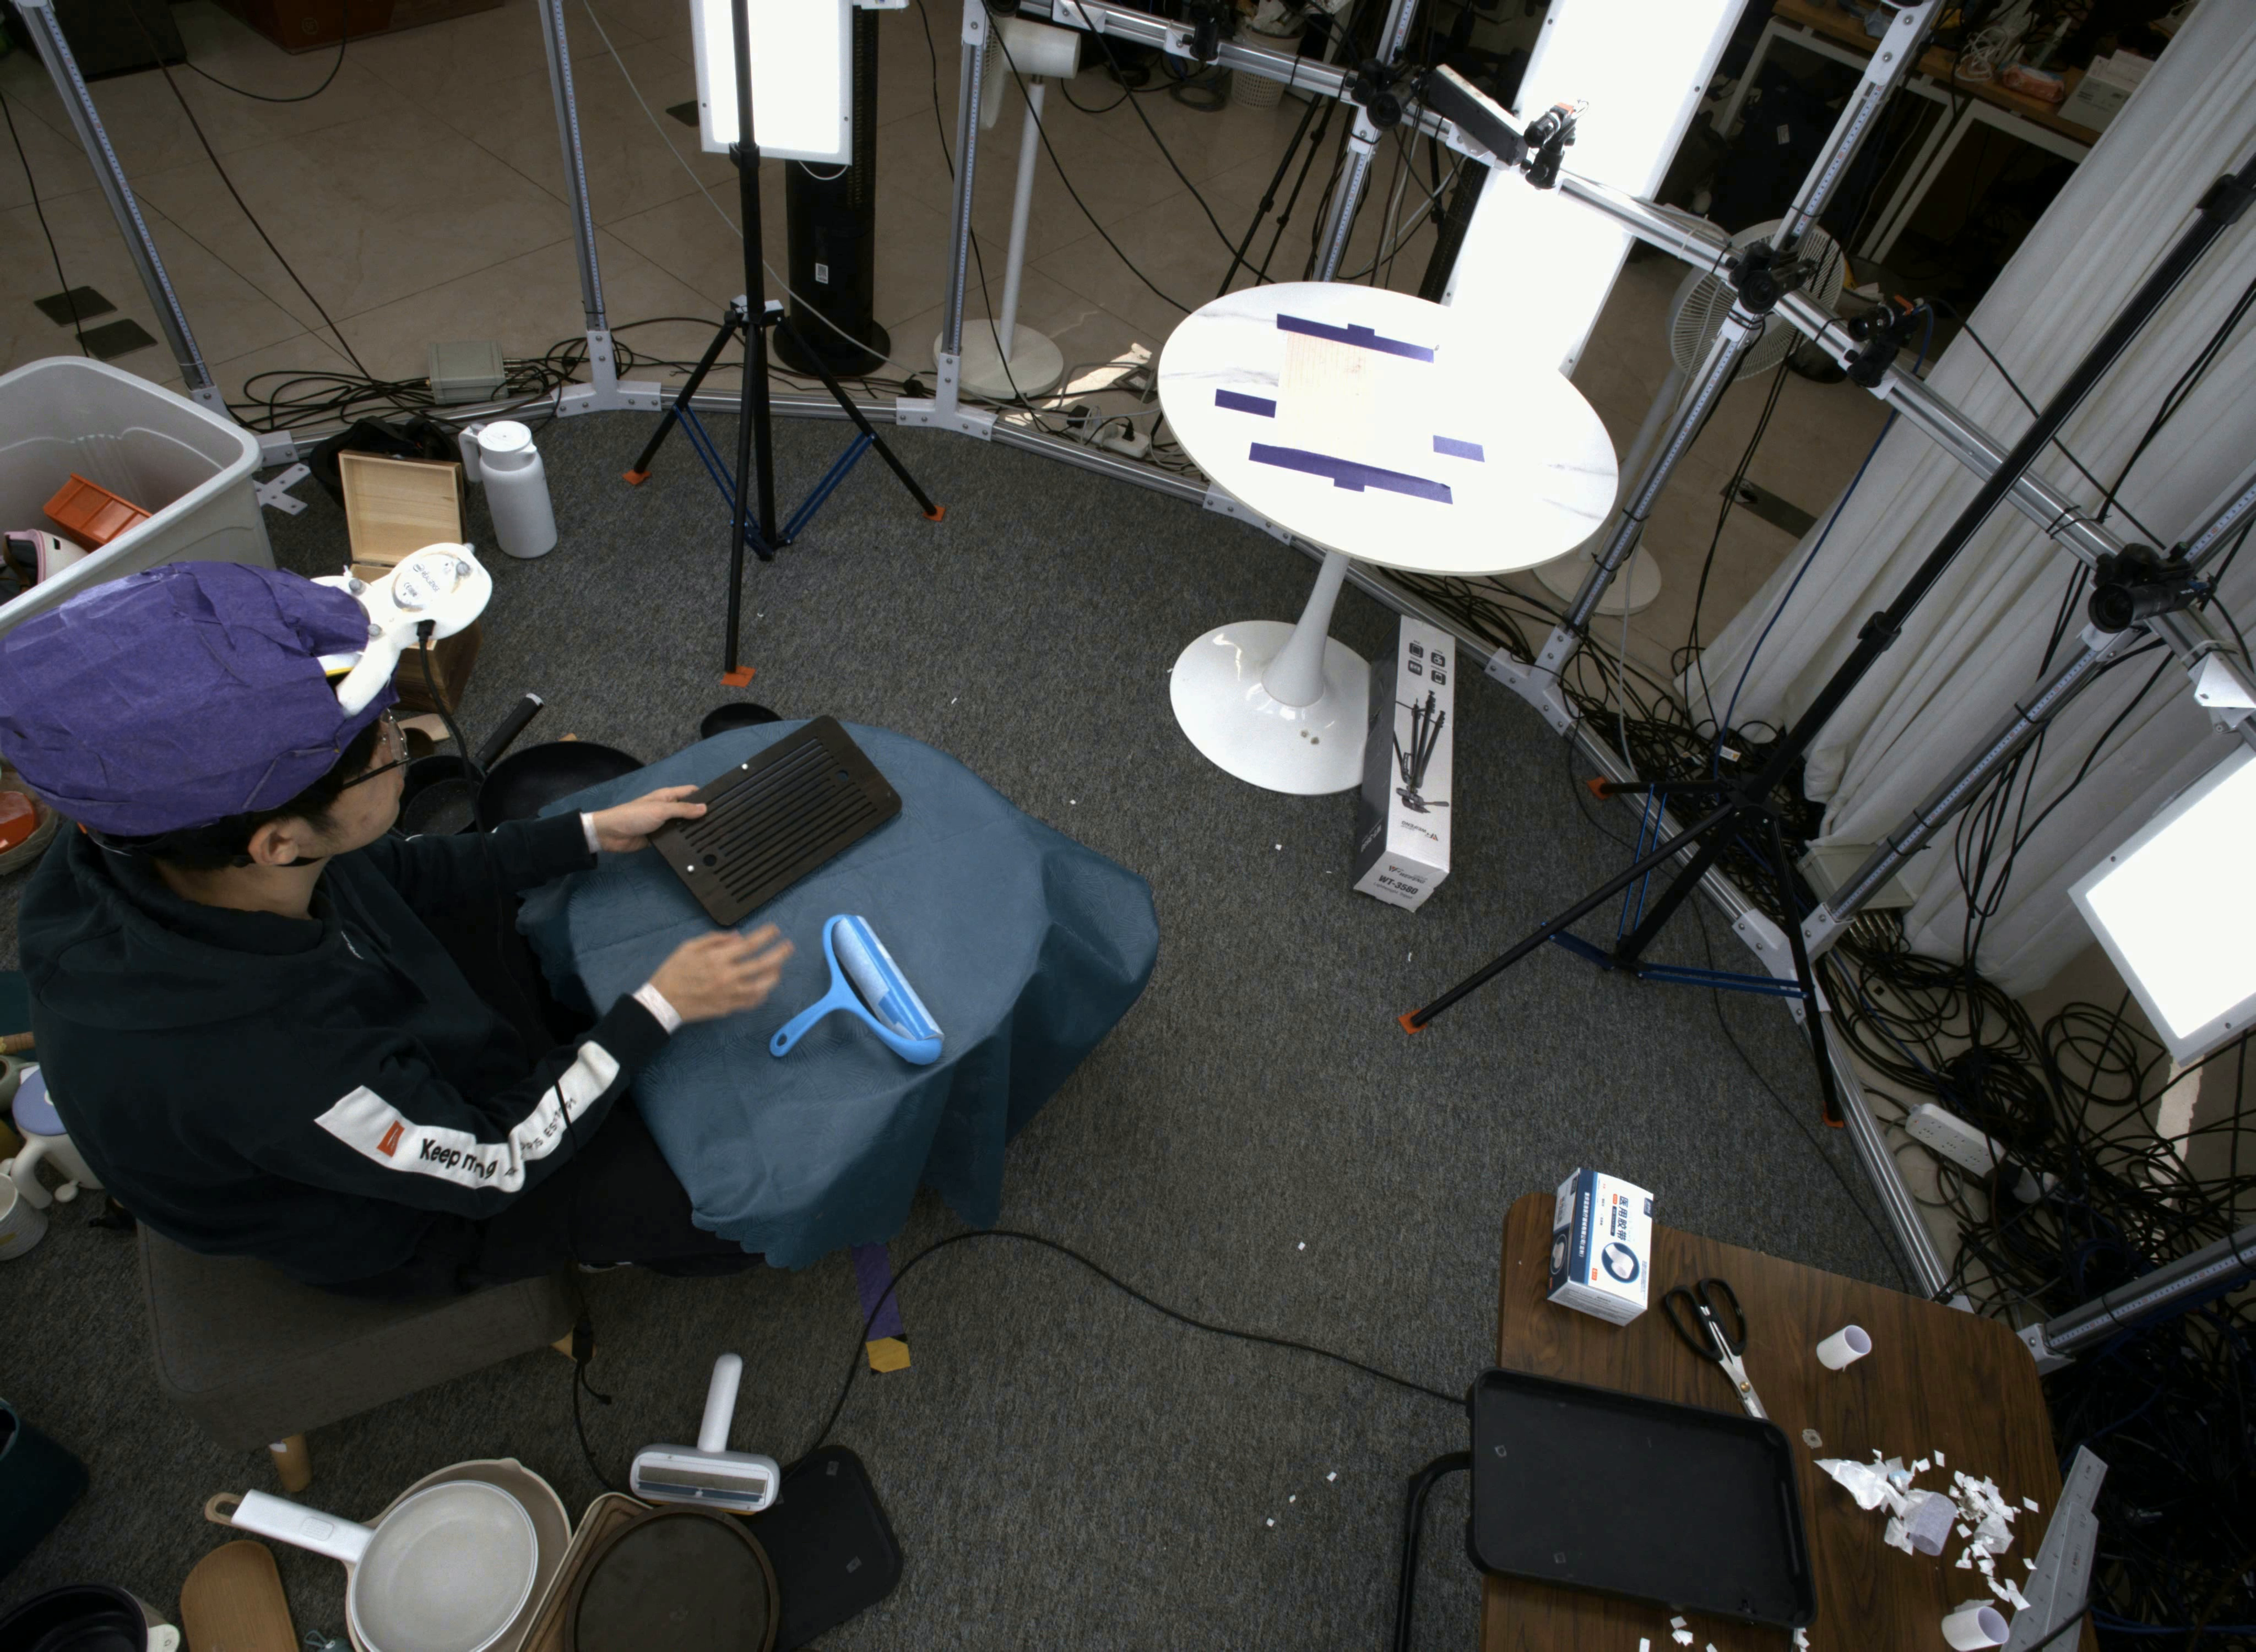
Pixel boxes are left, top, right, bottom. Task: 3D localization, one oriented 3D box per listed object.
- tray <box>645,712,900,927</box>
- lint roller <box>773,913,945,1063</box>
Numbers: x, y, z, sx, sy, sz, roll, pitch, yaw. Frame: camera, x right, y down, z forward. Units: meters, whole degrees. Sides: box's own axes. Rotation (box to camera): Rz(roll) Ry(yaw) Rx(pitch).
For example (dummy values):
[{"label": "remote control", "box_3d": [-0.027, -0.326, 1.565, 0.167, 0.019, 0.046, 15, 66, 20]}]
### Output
[{"label": "tray", "box_3d": [-0.459, -0.014, 1.690, 0.306, 0.018, 0.170, -39, 89, -34]}, {"label": "lint roller", "box_3d": [-0.341, 0.216, 1.554, 0.181, 0.069, 0.224, -28, 67, -32]}]
